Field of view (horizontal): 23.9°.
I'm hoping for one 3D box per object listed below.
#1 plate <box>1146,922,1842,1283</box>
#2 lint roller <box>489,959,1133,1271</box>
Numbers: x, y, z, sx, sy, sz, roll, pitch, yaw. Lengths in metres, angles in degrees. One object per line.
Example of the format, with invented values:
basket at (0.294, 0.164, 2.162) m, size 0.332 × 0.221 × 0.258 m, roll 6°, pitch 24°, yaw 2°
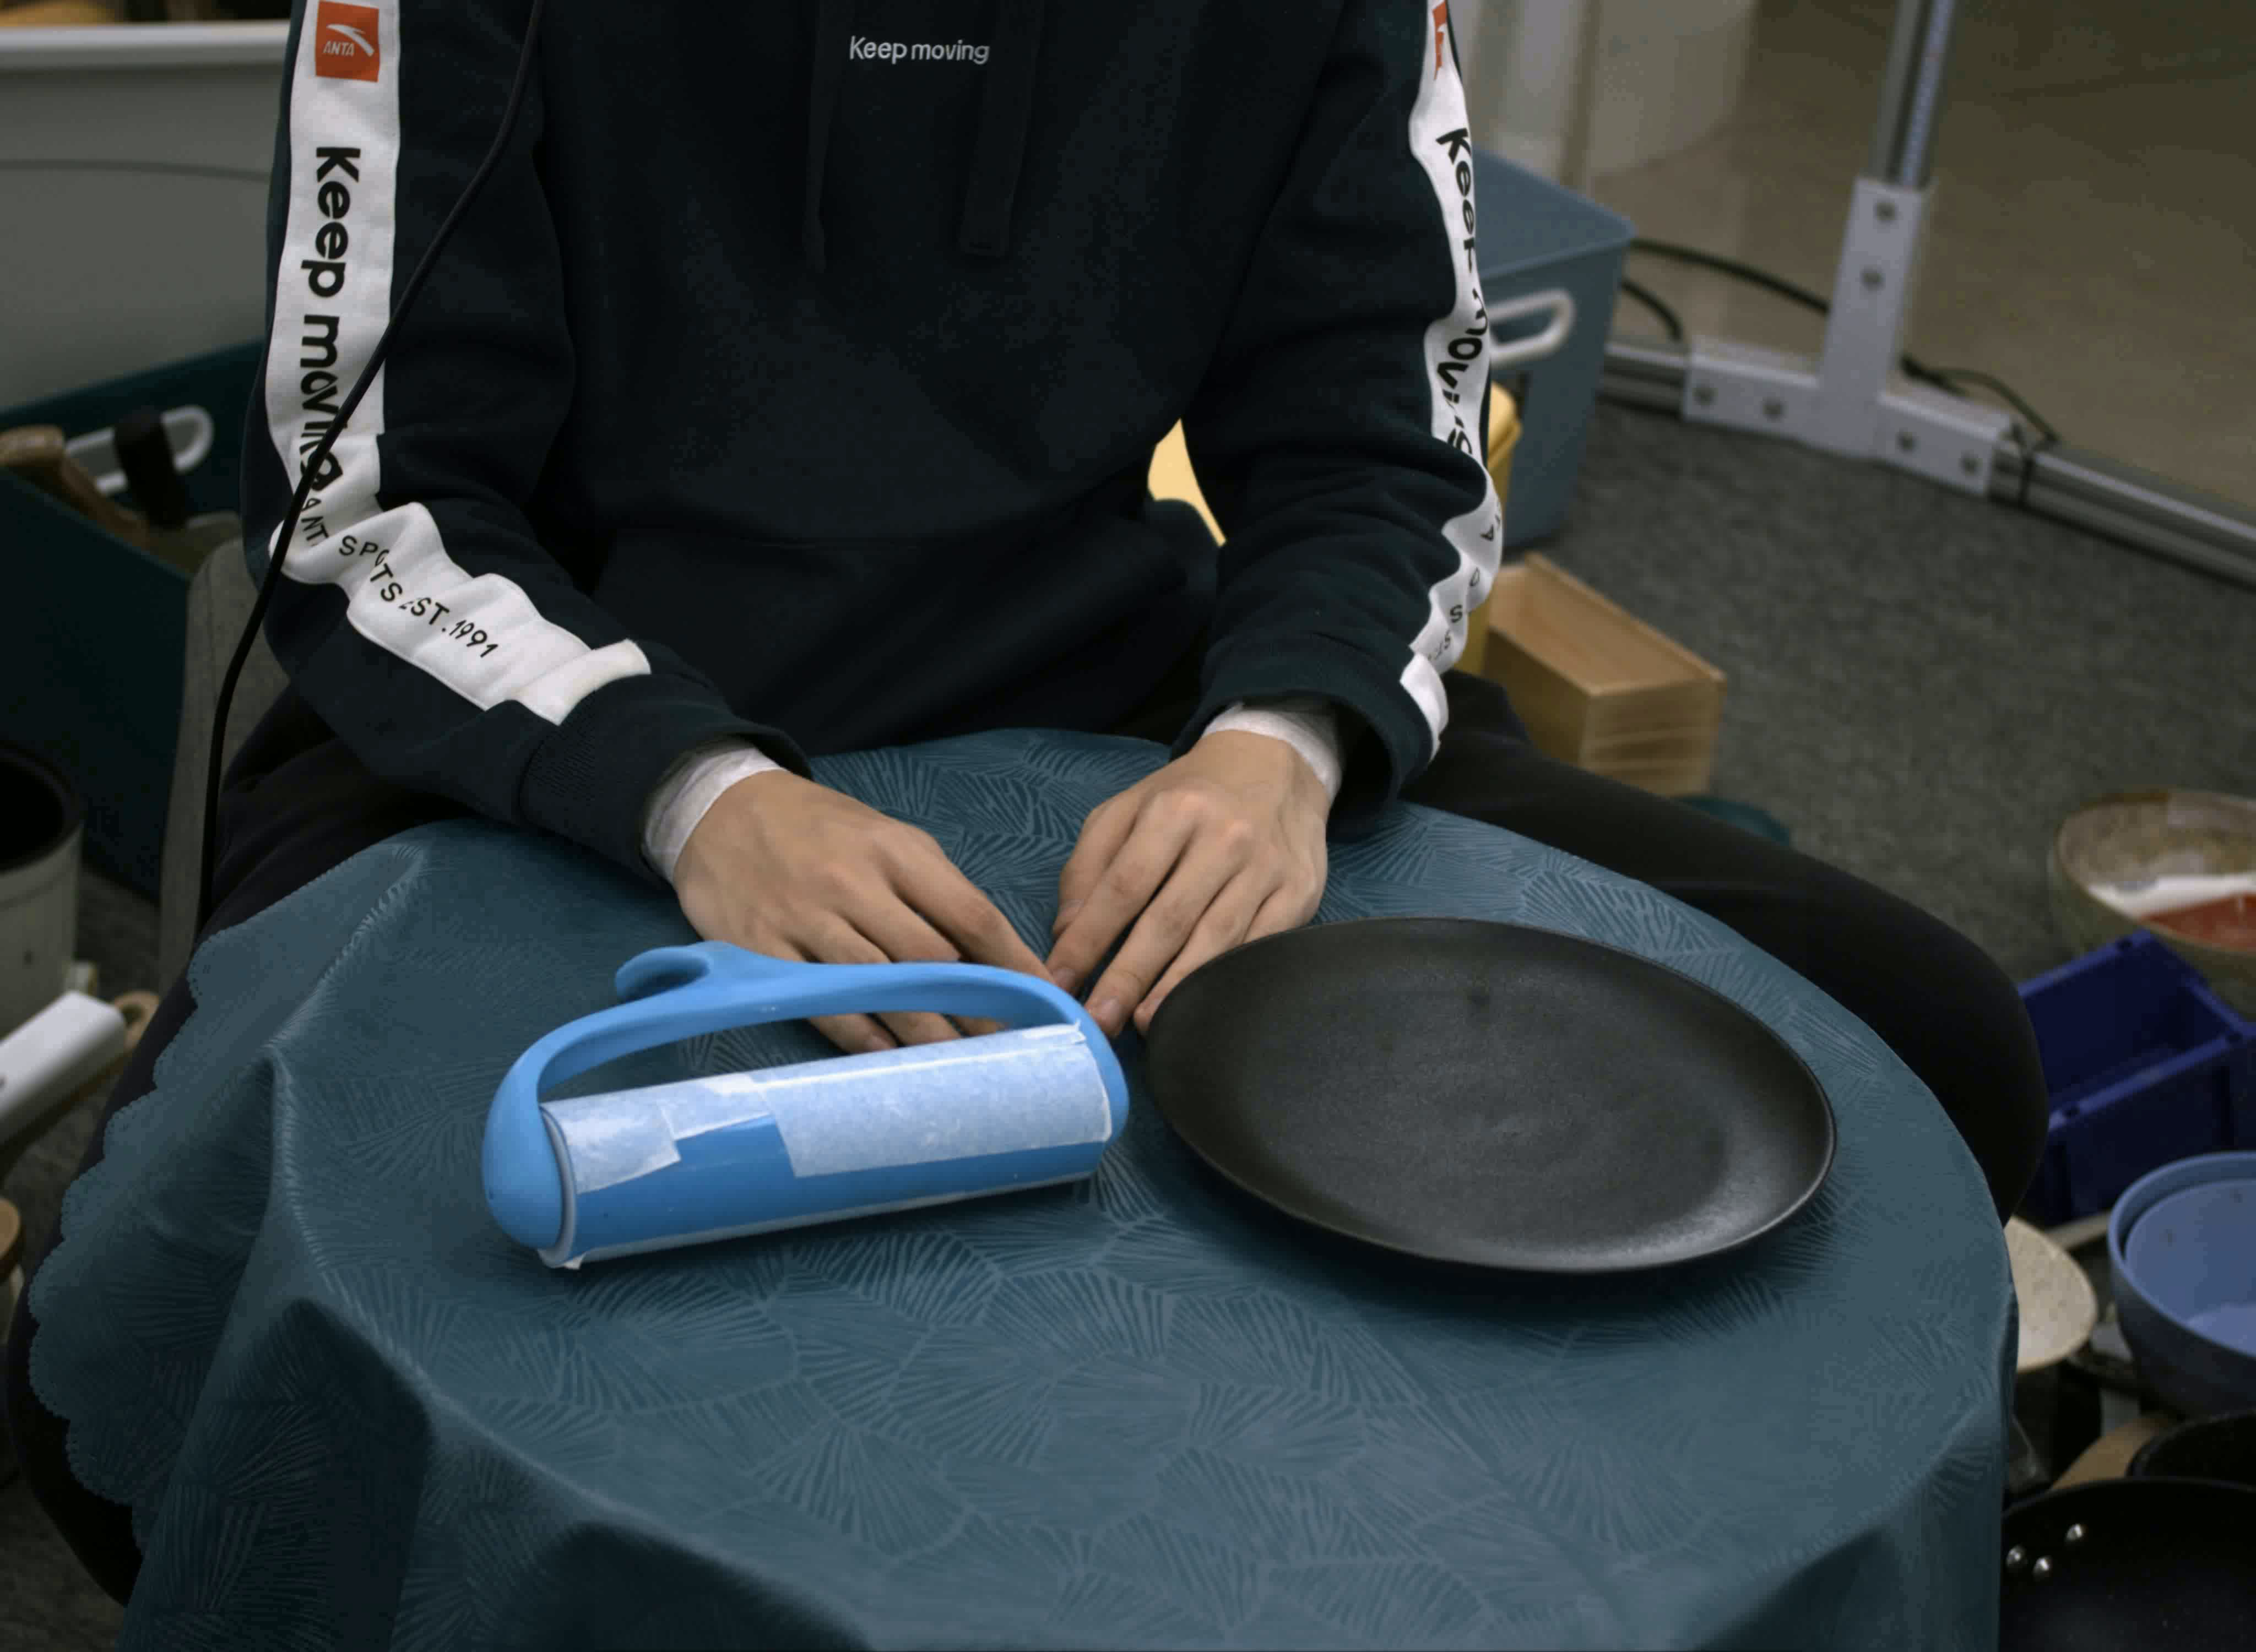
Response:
plate at (0.126, 0.100, 1.848) m, size 0.243 × 0.023 × 0.246 m, roll 5°, pitch 27°, yaw -3°
lint roller at (-0.131, 0.079, 1.796) m, size 0.227 × 0.068 × 0.182 m, roll -10°, pitch 30°, yaw -28°
